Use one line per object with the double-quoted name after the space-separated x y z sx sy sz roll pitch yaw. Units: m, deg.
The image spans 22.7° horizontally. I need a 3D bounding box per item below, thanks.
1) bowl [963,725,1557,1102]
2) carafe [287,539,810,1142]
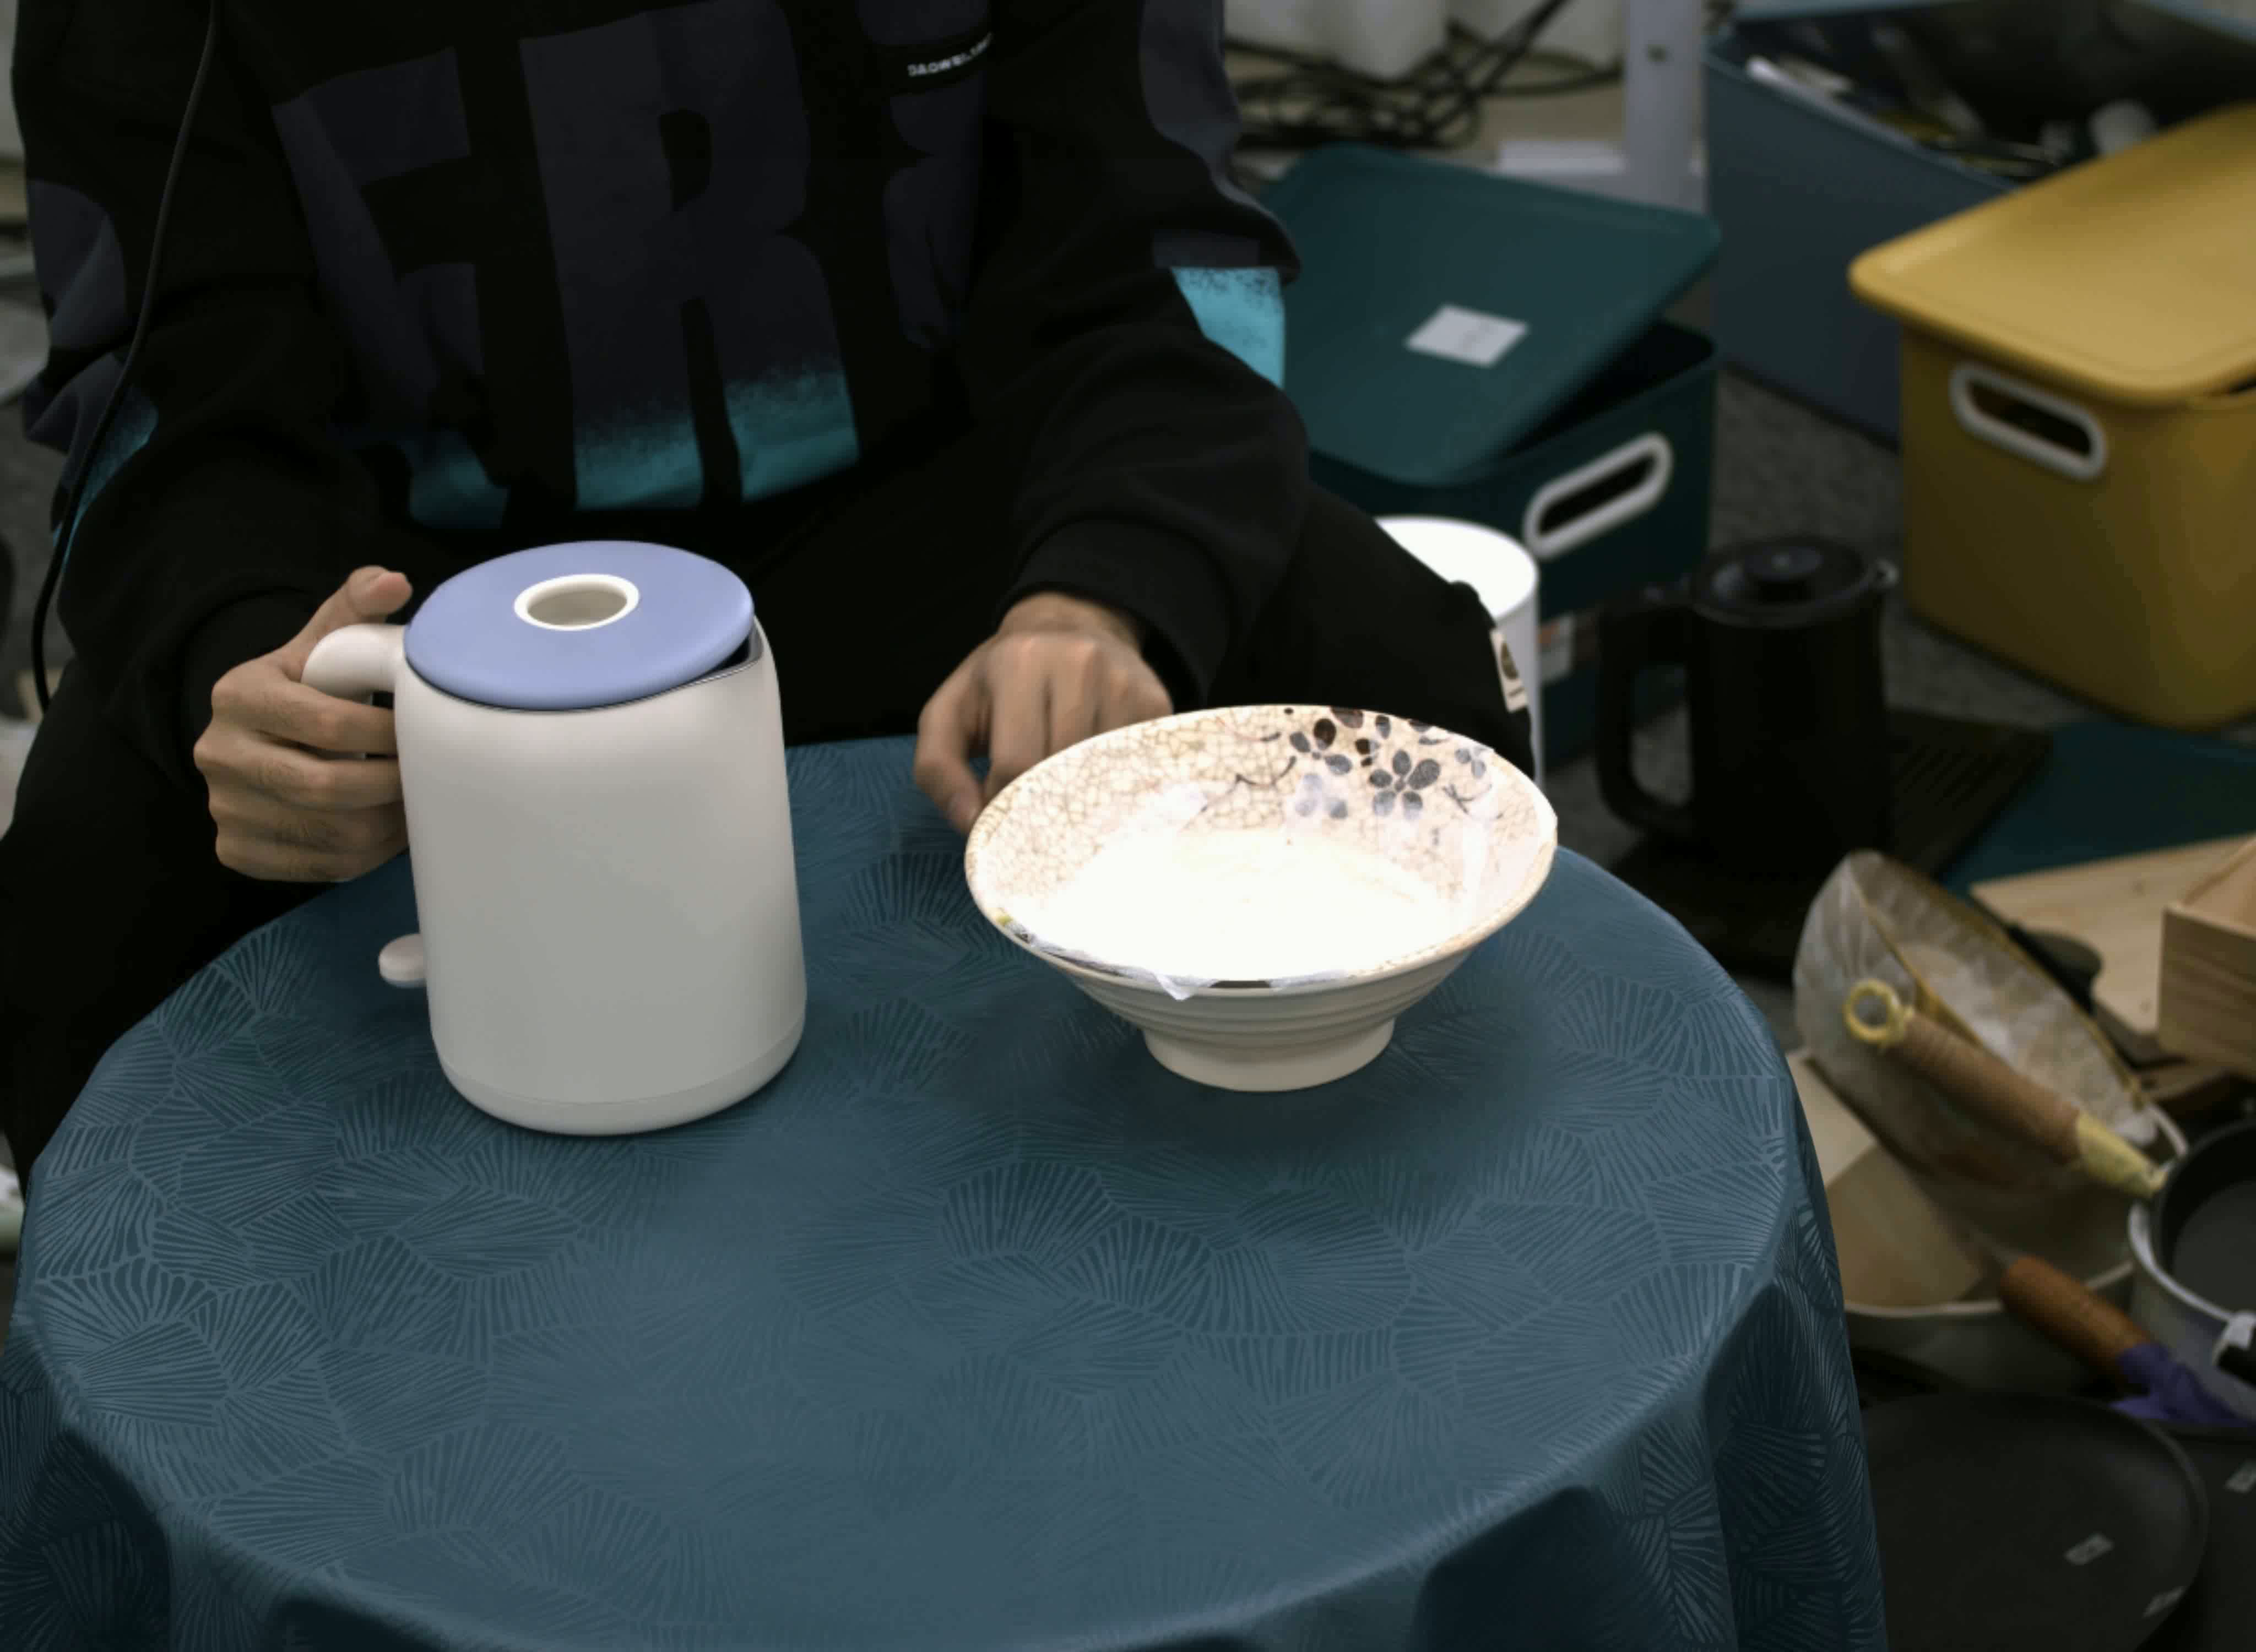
0.046 0.041 1.932 0.203 0.077 0.207 -2 24 1 "bowl"
-0.202 0.002 1.928 0.189 0.181 0.134 5 27 22 "carafe"
